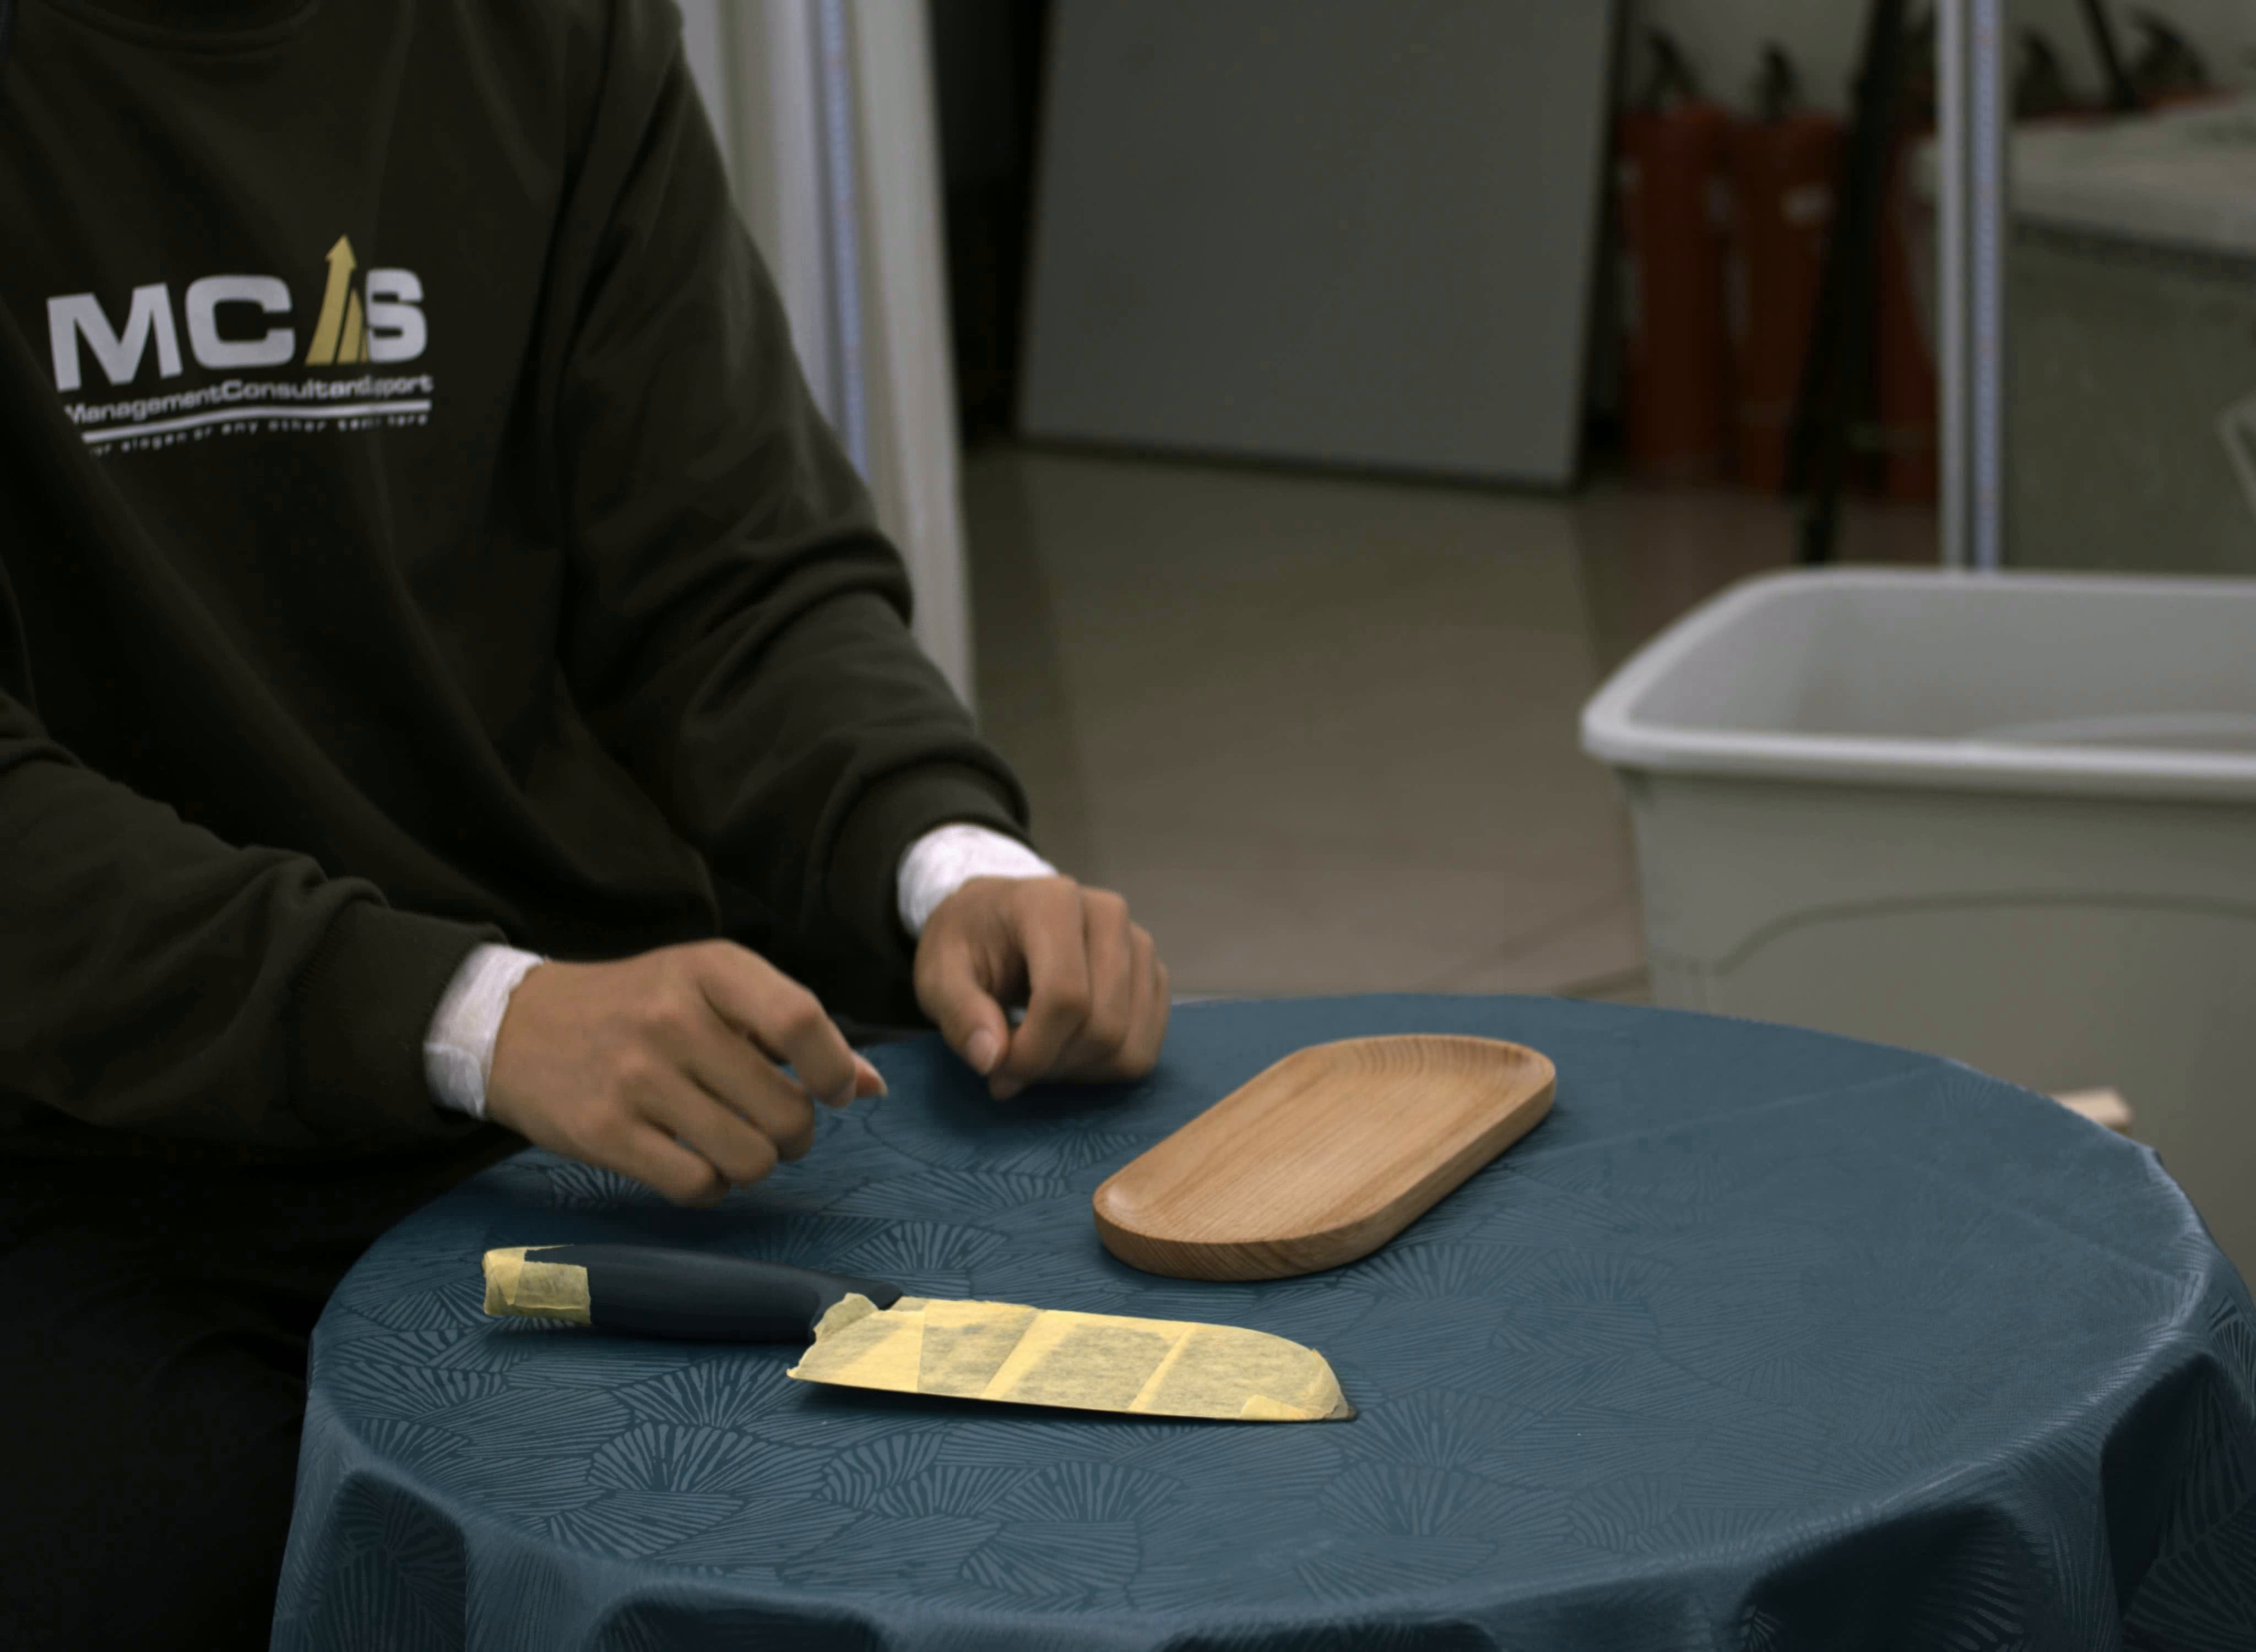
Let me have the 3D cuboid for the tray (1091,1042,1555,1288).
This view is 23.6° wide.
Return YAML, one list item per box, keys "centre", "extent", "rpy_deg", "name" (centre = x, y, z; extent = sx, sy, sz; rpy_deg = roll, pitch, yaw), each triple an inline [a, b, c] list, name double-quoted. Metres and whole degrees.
- centre: [0.067, 0.110, 1.770]
  extent: [0.102, 0.020, 0.228]
  rpy_deg: [1, 16, 27]
  name: "tray"

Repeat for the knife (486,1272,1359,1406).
- centre: [-0.067, 0.157, 1.617]
  extent: [0.289, 0.027, 0.080]
  rpy_deg: [2, 13, 21]
  name: "knife"
